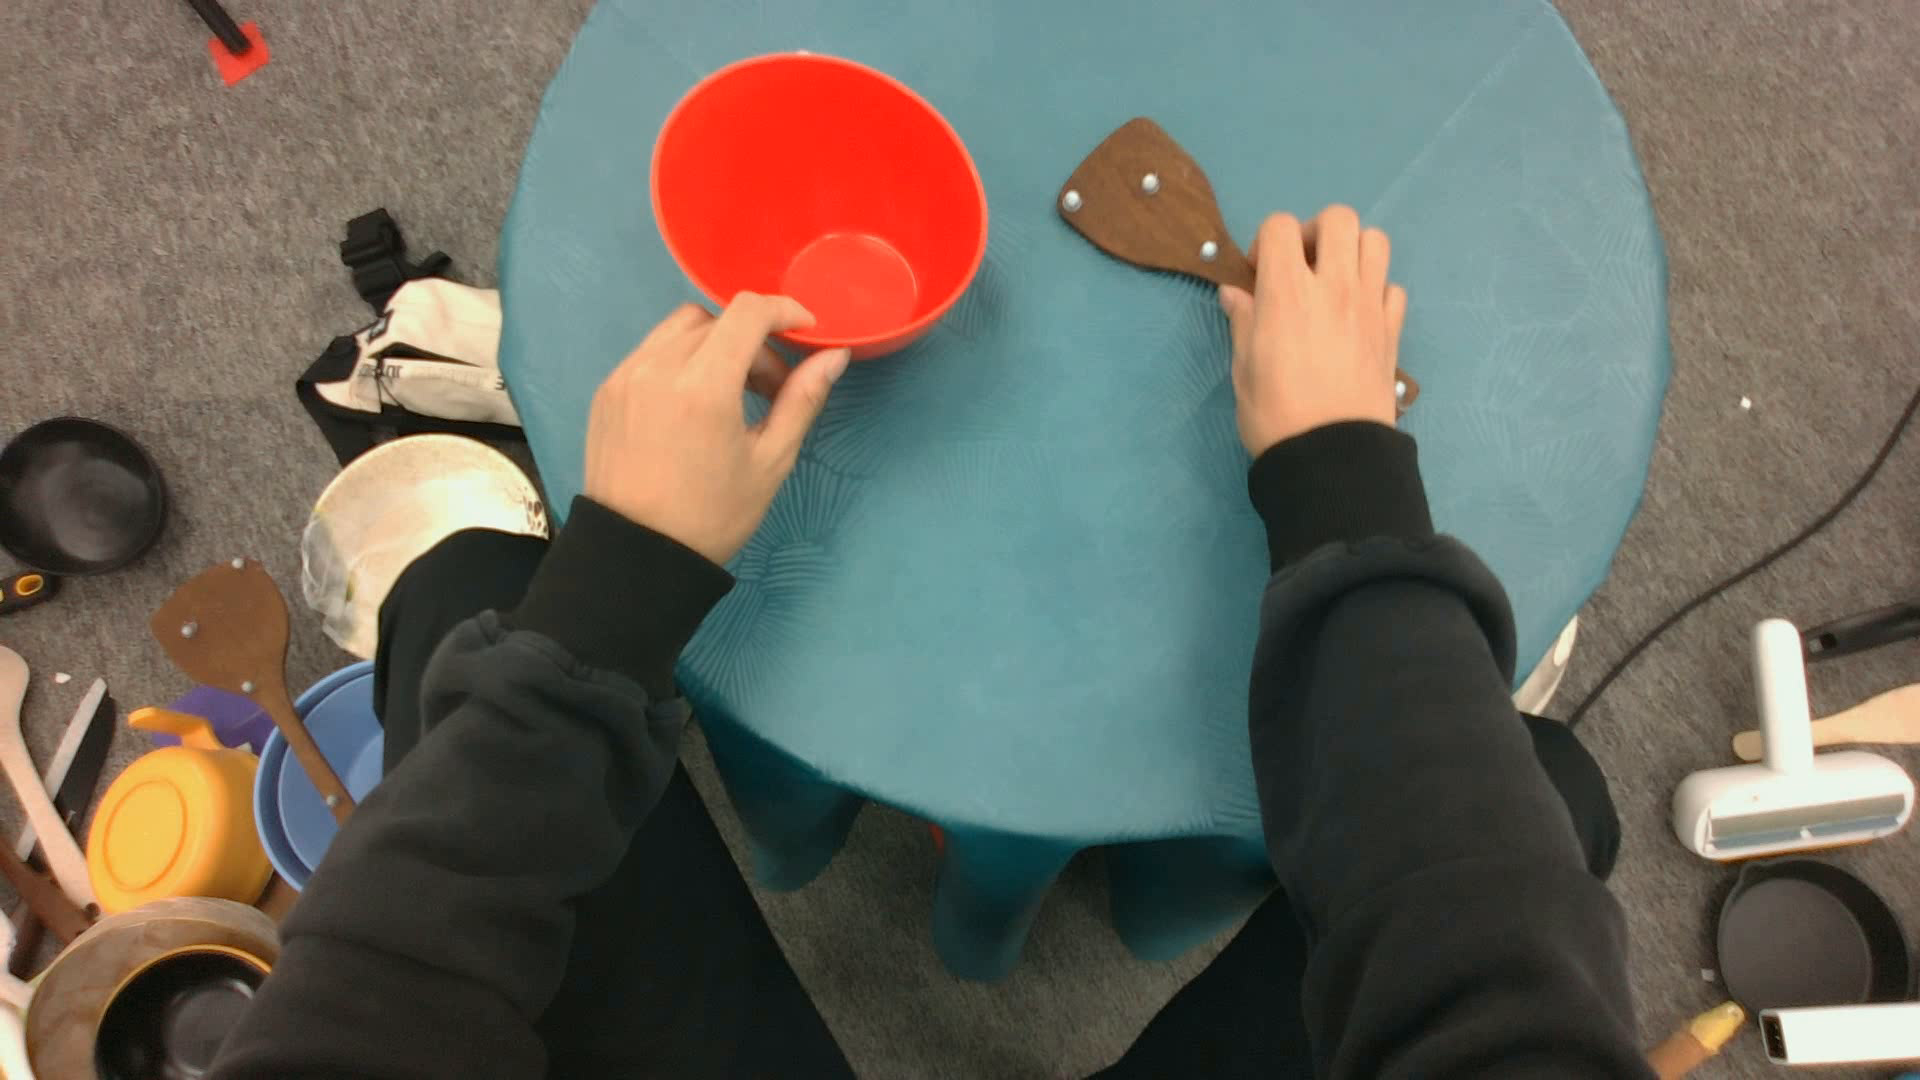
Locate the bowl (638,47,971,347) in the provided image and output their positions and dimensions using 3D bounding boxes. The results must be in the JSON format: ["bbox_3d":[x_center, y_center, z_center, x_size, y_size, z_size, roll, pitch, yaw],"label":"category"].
[{"bbox_3d":[-0.071,-0.147,0.654,0.148,0.104,0.148,2,70,-4],"label":"bowl"}]

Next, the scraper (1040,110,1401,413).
[{"bbox_3d":[0.137,-0.138,0.706,0.211,0.011,0.076,42,77,12],"label":"scraper"}]
